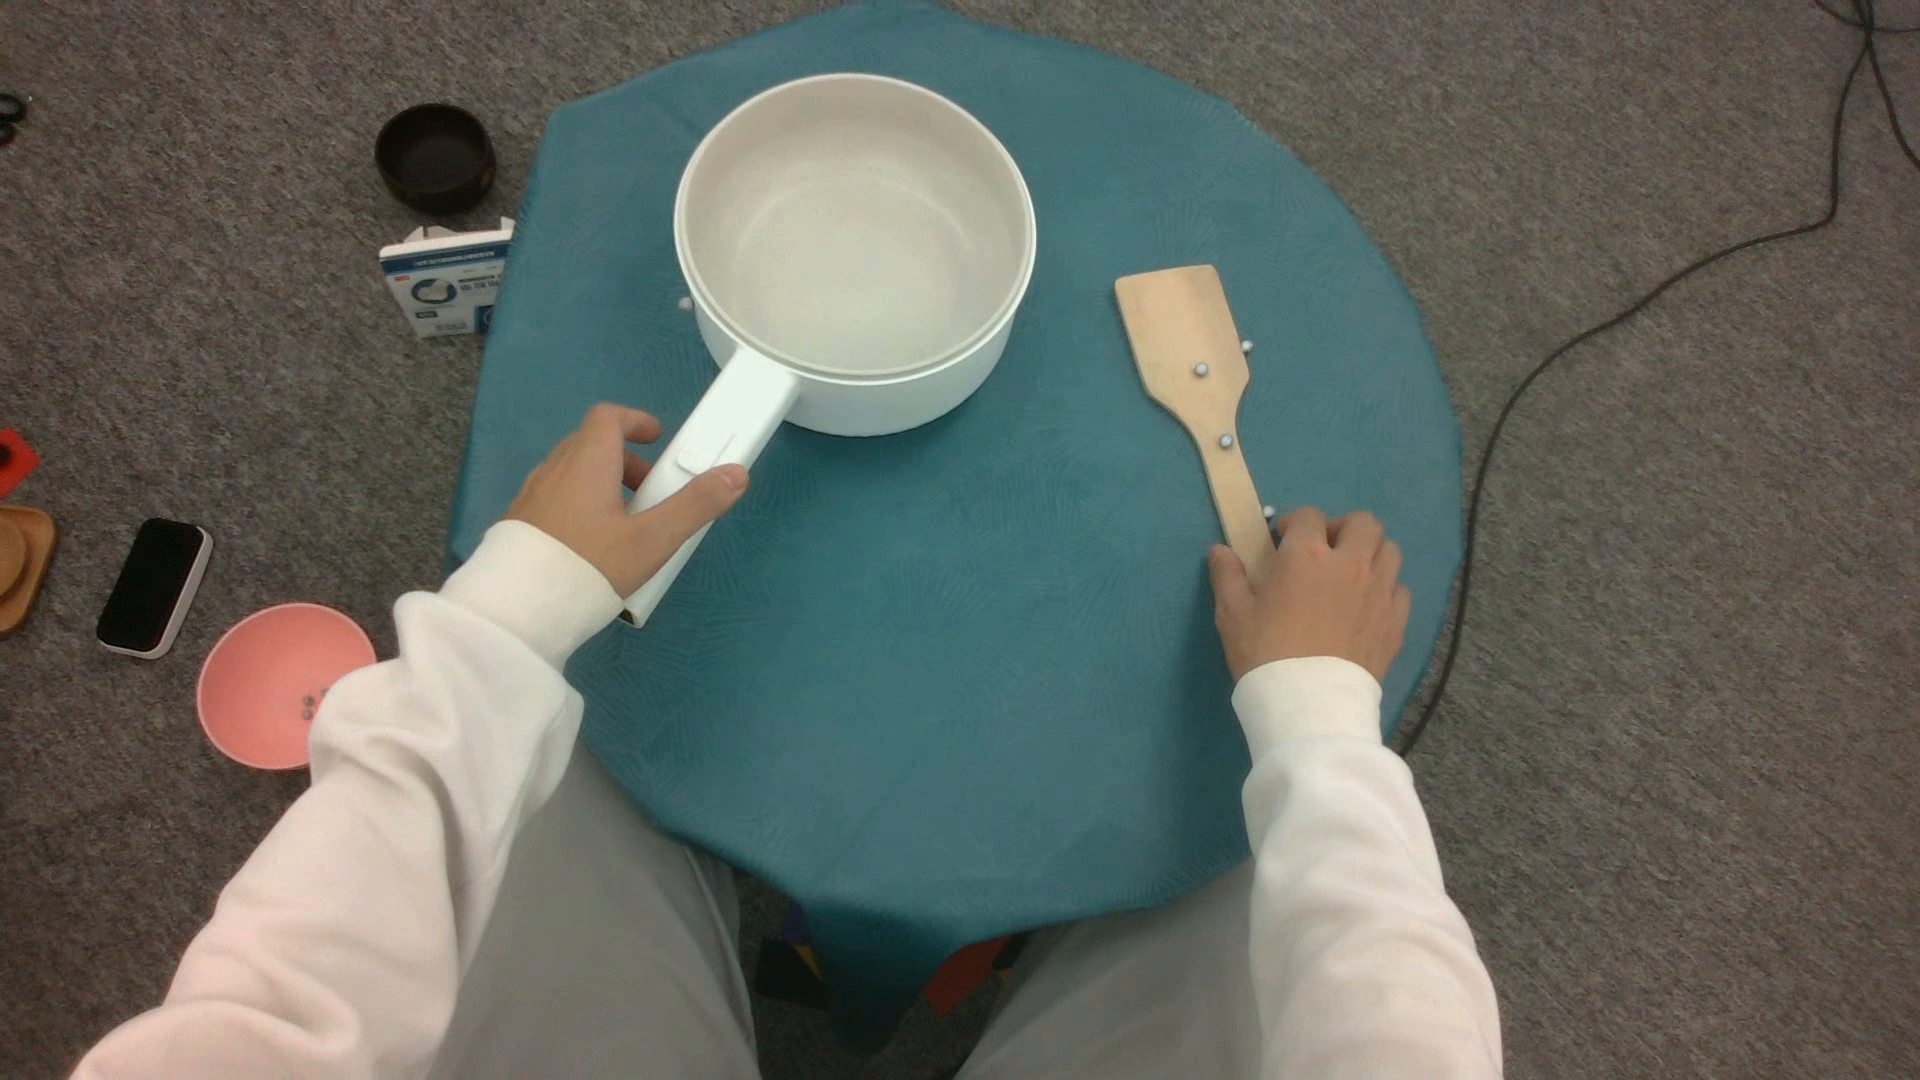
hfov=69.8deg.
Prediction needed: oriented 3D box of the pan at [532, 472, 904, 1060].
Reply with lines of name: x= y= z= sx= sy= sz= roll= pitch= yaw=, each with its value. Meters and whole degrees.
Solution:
pan: x=-0.149 y=0.126 z=0.802 sx=0.201 sy=0.101 sz=0.356 roll=10 pitch=55 yaw=8

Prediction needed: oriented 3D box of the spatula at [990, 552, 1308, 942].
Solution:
spatula: x=0.120 y=0.122 z=0.857 sx=0.072 sy=0.010 sz=0.293 roll=-24 pitch=57 yaw=-17
